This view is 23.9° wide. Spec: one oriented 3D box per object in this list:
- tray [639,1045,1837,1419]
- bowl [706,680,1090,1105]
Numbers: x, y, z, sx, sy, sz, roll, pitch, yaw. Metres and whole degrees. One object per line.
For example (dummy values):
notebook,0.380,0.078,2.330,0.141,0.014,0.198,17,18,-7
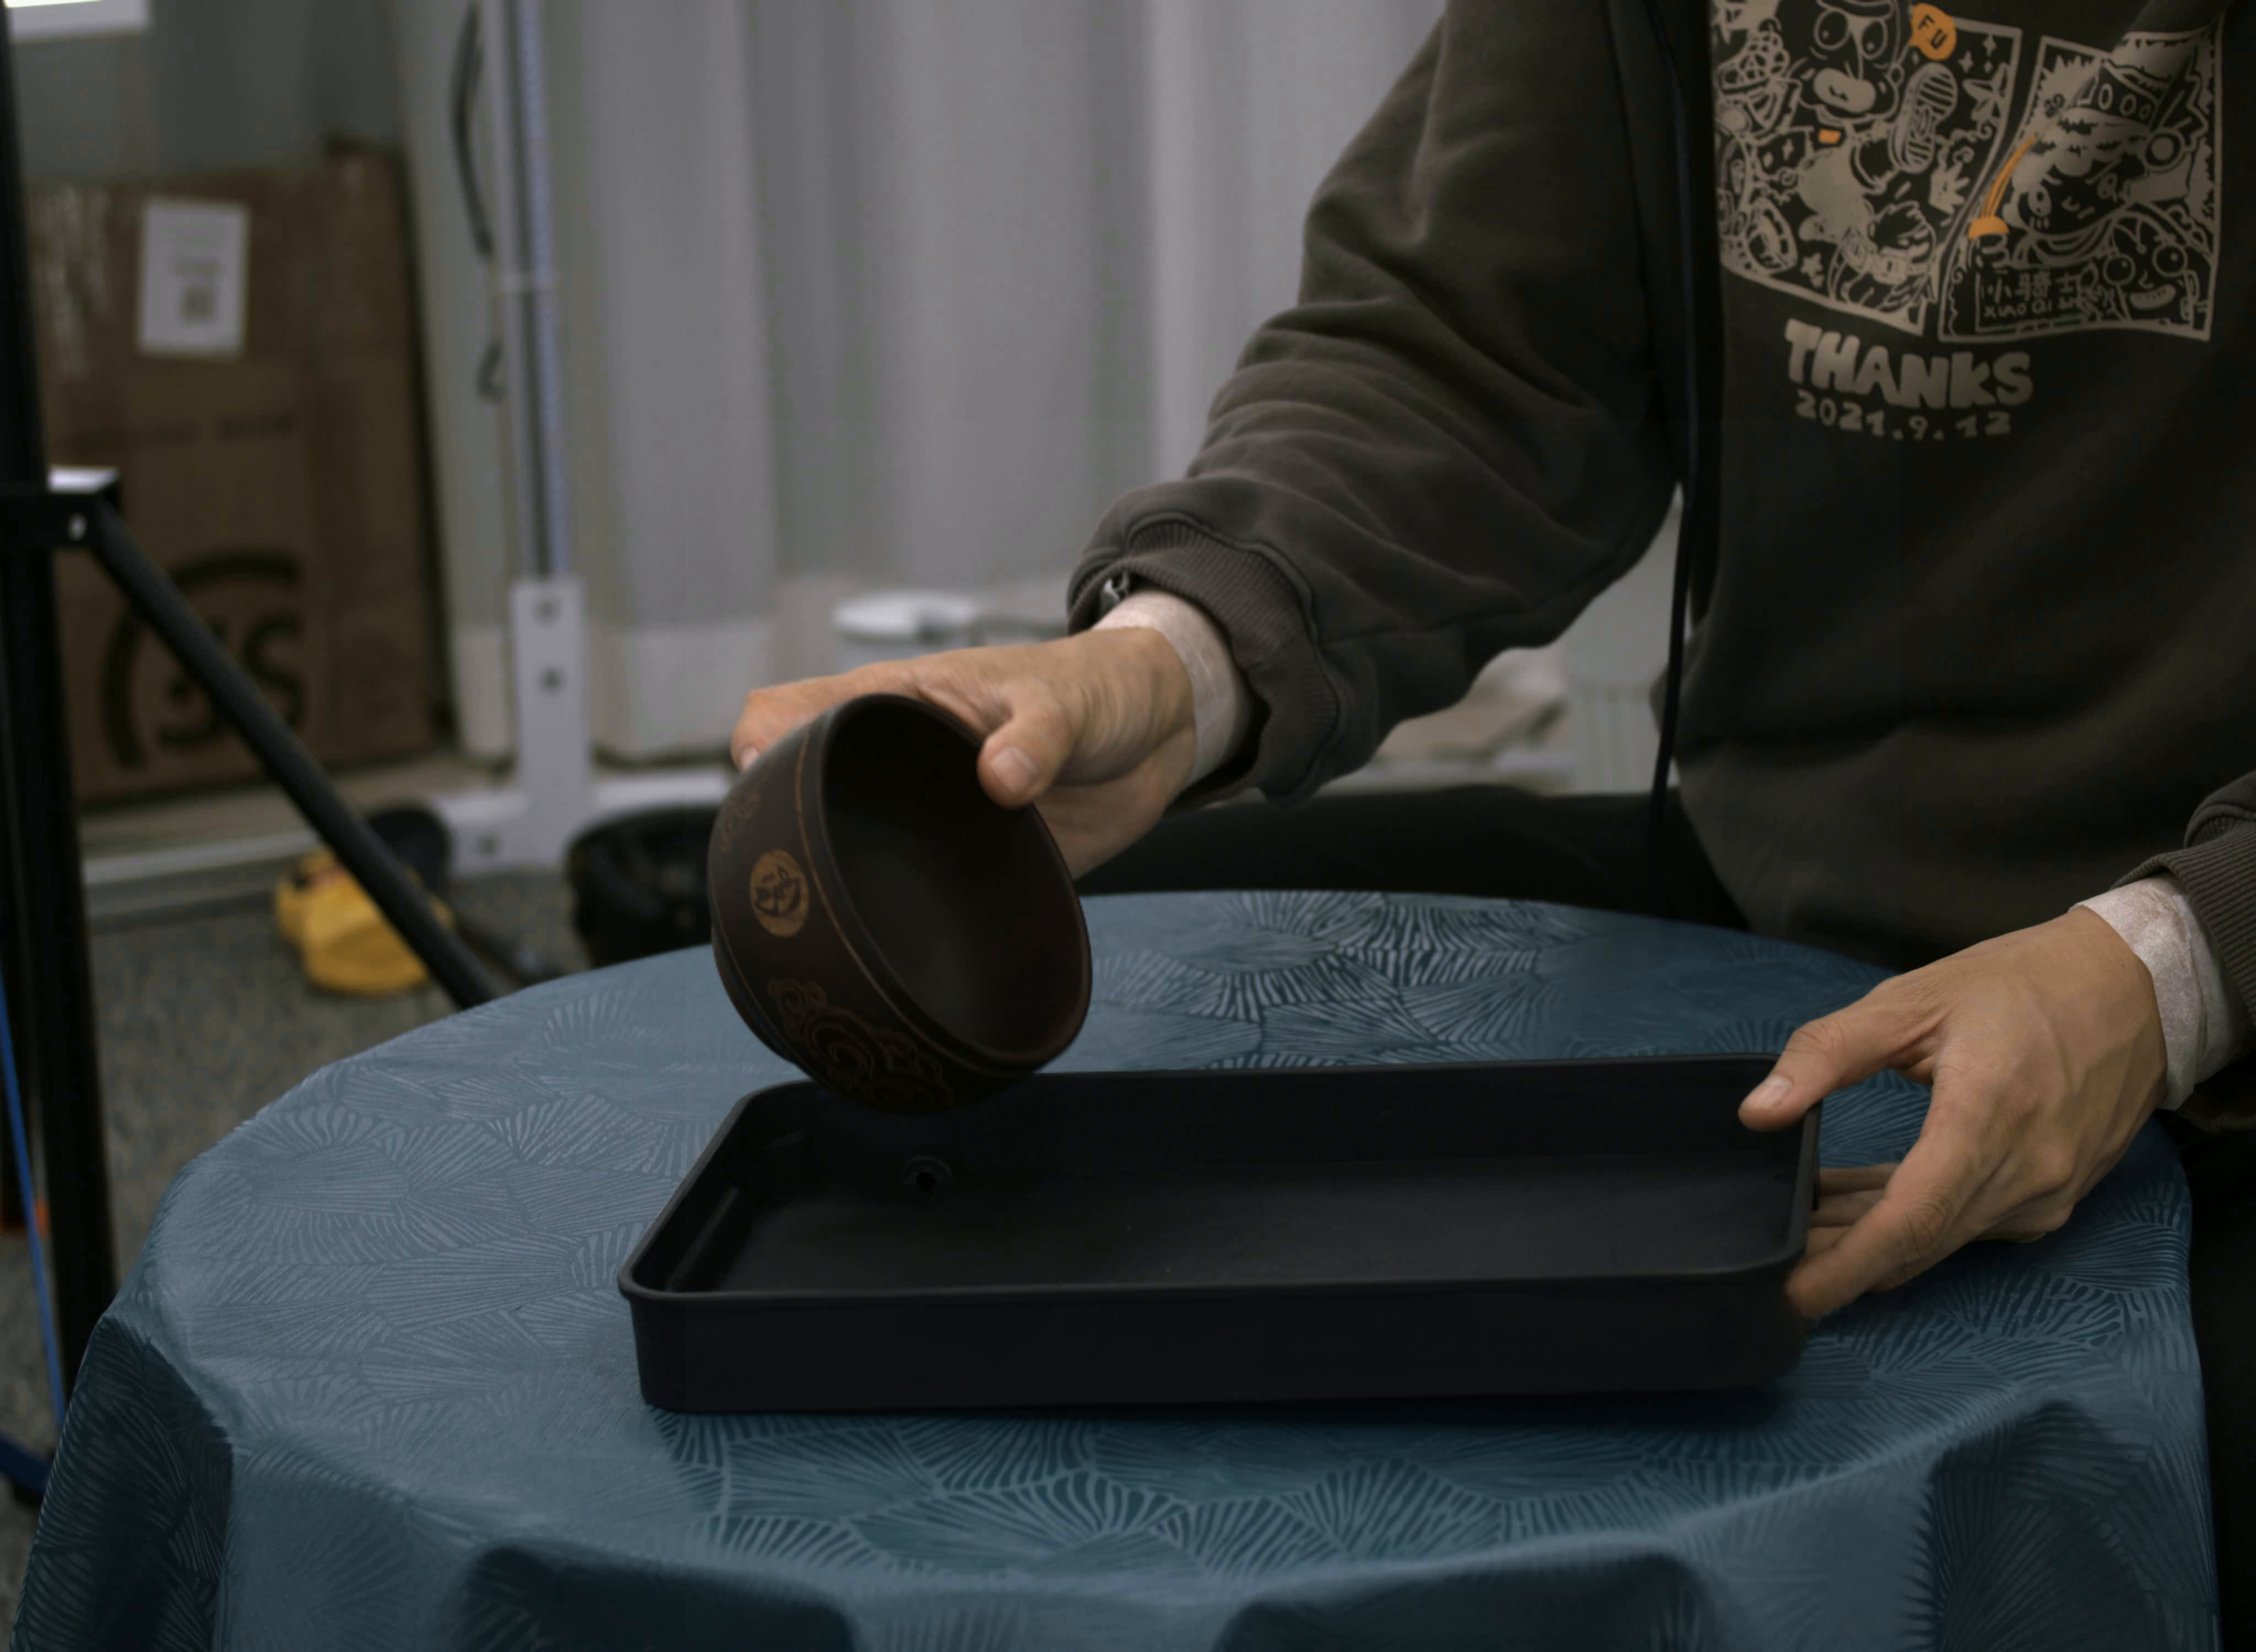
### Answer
tray,0.036,0.110,1.460,0.319,0.037,0.184,-3,15,10
bowl,-0.073,0.025,1.497,0.070,0.118,0.116,-31,1,28
